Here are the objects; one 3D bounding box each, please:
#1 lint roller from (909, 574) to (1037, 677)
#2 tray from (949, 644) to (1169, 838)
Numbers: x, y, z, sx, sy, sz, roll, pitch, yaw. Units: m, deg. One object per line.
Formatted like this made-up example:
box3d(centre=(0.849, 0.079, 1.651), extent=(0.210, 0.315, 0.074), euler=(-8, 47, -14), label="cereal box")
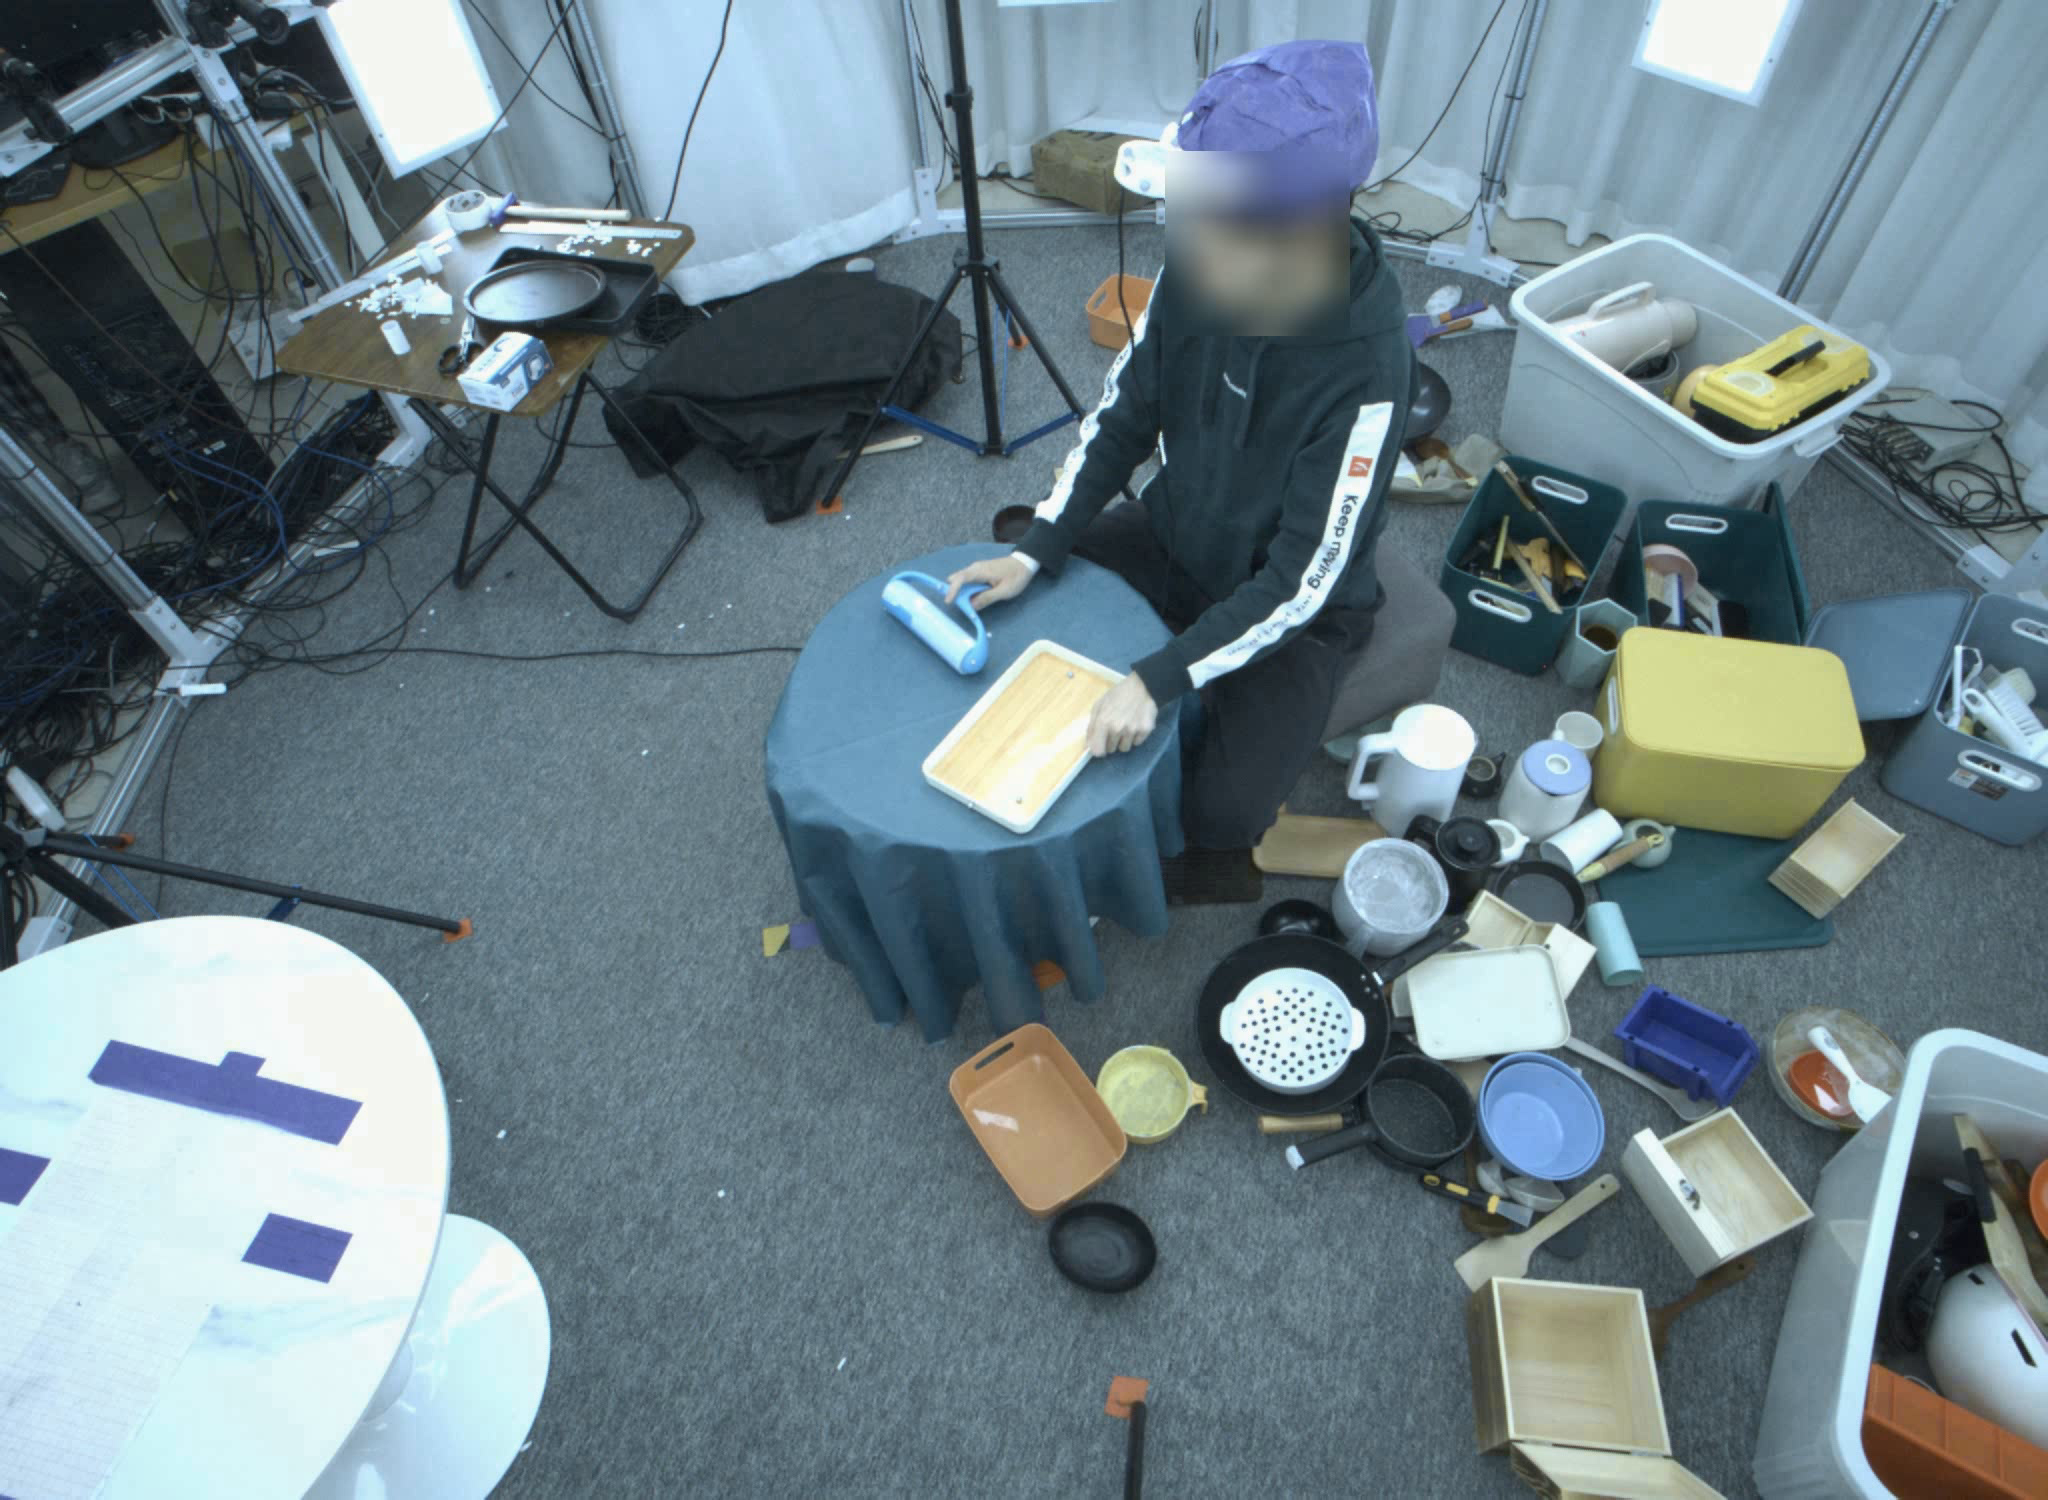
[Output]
box3d(centre=(-0.054, -0.222, 1.908), extent=(0.181, 0.069, 0.224), euler=(-39, 60, -22), label="lint roller")
box3d(centre=(0.053, -0.020, 1.772), extent=(0.188, 0.028, 0.302), euler=(30, 61, 24), label="tray")
